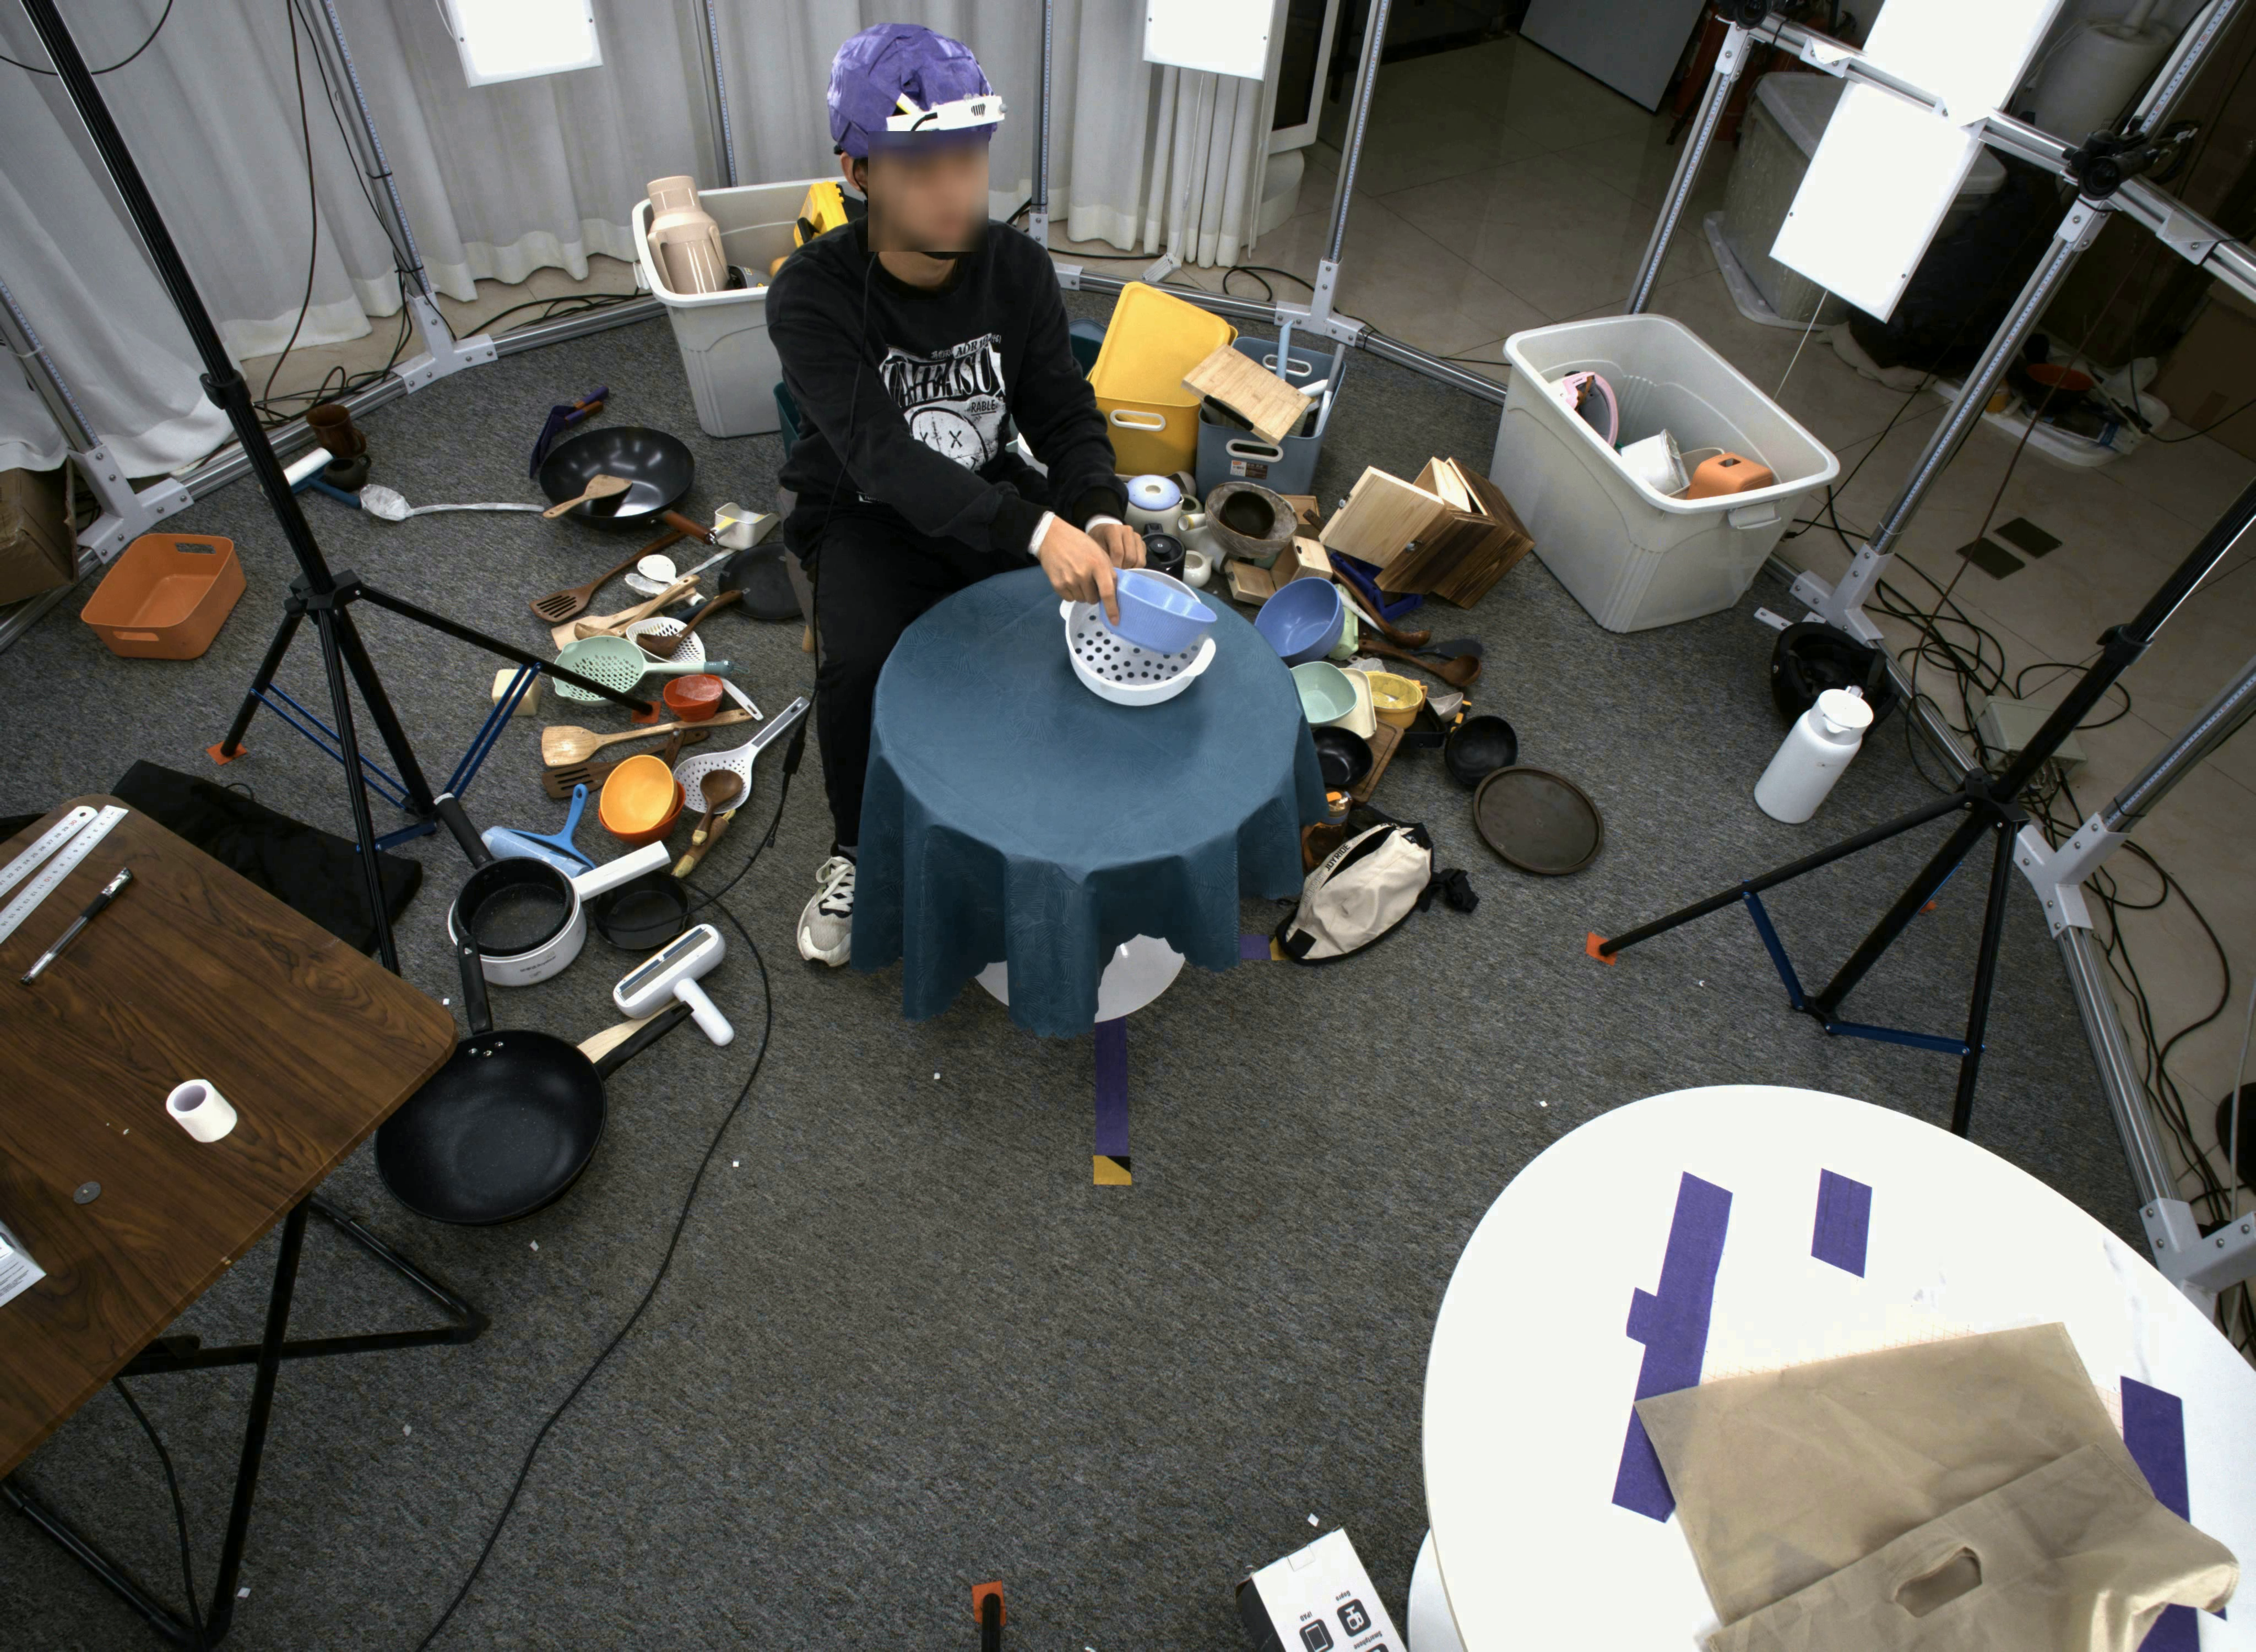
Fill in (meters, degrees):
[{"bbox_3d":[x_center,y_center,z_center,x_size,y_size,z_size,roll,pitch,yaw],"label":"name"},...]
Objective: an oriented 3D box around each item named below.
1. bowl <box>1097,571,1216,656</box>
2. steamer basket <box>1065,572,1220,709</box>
[{"bbox_3d":[0.028,-0.288,1.778,0.175,0.069,0.179,20,19,-7],"label":"bowl"},{"bbox_3d":[0.019,-0.265,1.848,0.232,0.068,0.205,26,67,10],"label":"steamer basket"}]
